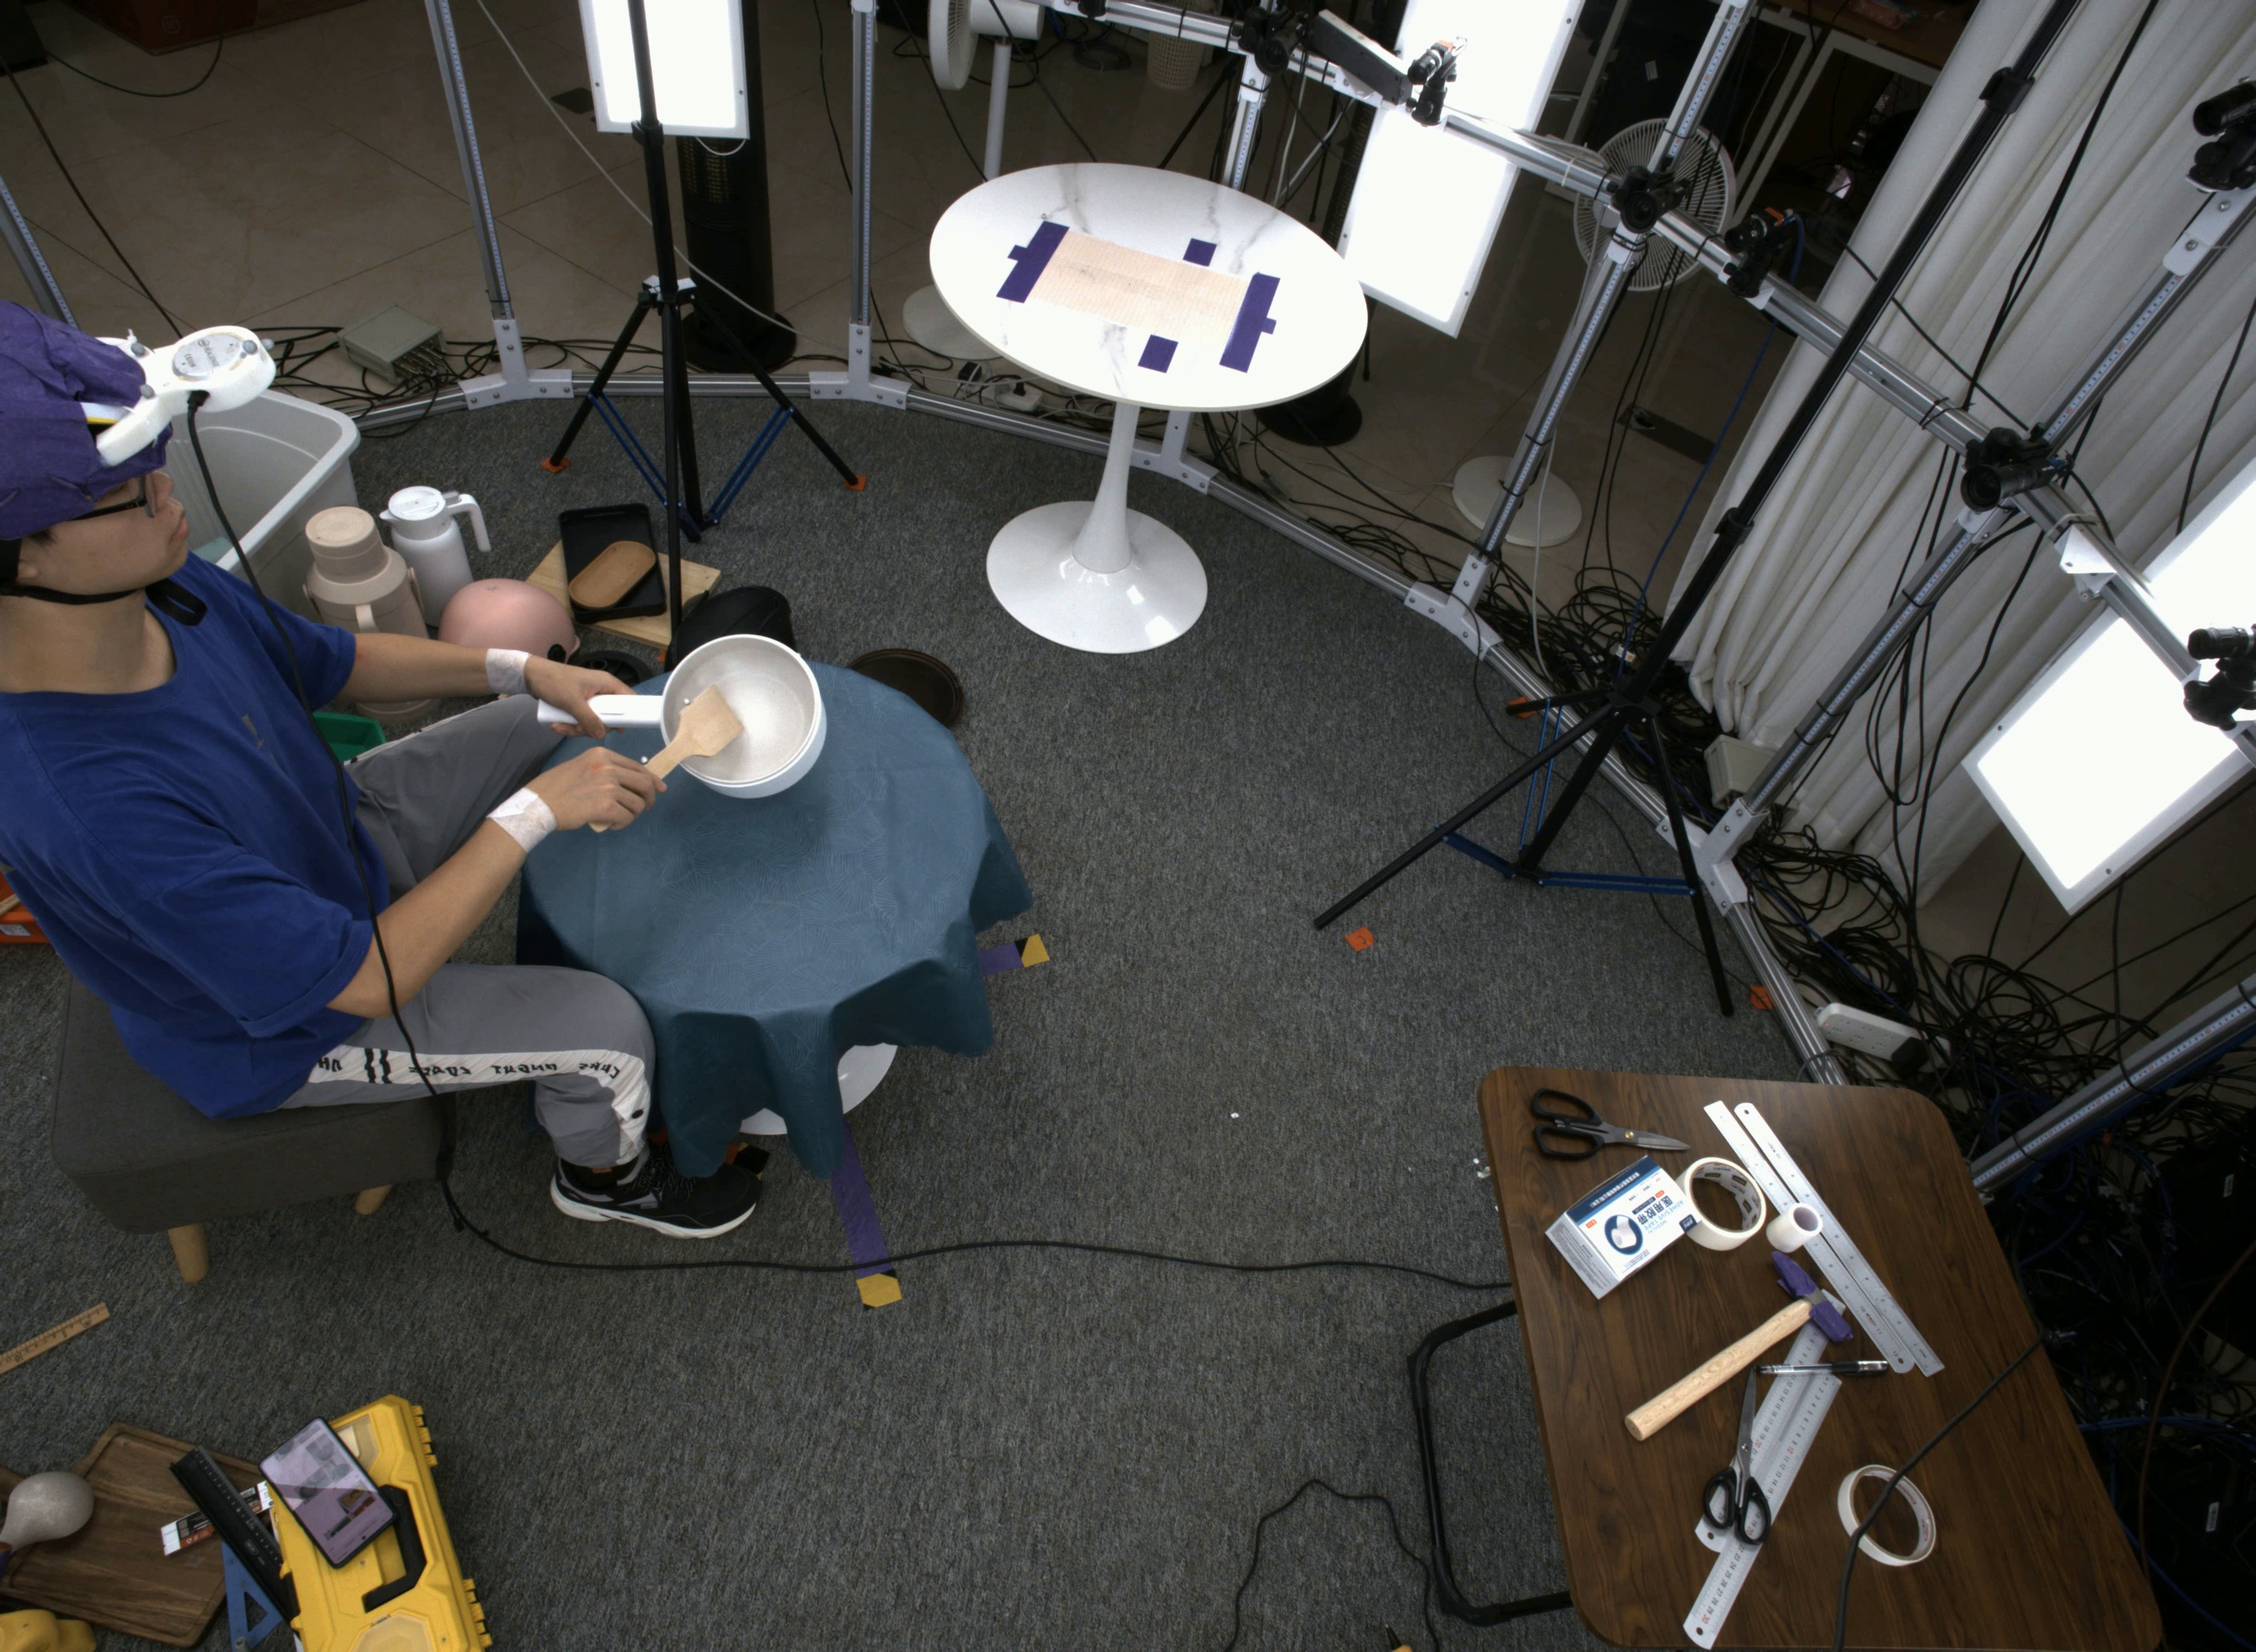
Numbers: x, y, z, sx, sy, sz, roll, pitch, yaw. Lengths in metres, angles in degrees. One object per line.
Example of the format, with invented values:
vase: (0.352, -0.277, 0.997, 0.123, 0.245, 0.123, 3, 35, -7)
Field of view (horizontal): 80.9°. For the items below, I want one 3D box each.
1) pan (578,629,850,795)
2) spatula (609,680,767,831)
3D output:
pan: (-0.537, -0.145, 1.669, 0.352, 0.102, 0.202, 1, 80, -5)
spatula: (-0.526, -0.083, 1.535, 0.010, 0.074, 0.291, -12, 27, 30)
